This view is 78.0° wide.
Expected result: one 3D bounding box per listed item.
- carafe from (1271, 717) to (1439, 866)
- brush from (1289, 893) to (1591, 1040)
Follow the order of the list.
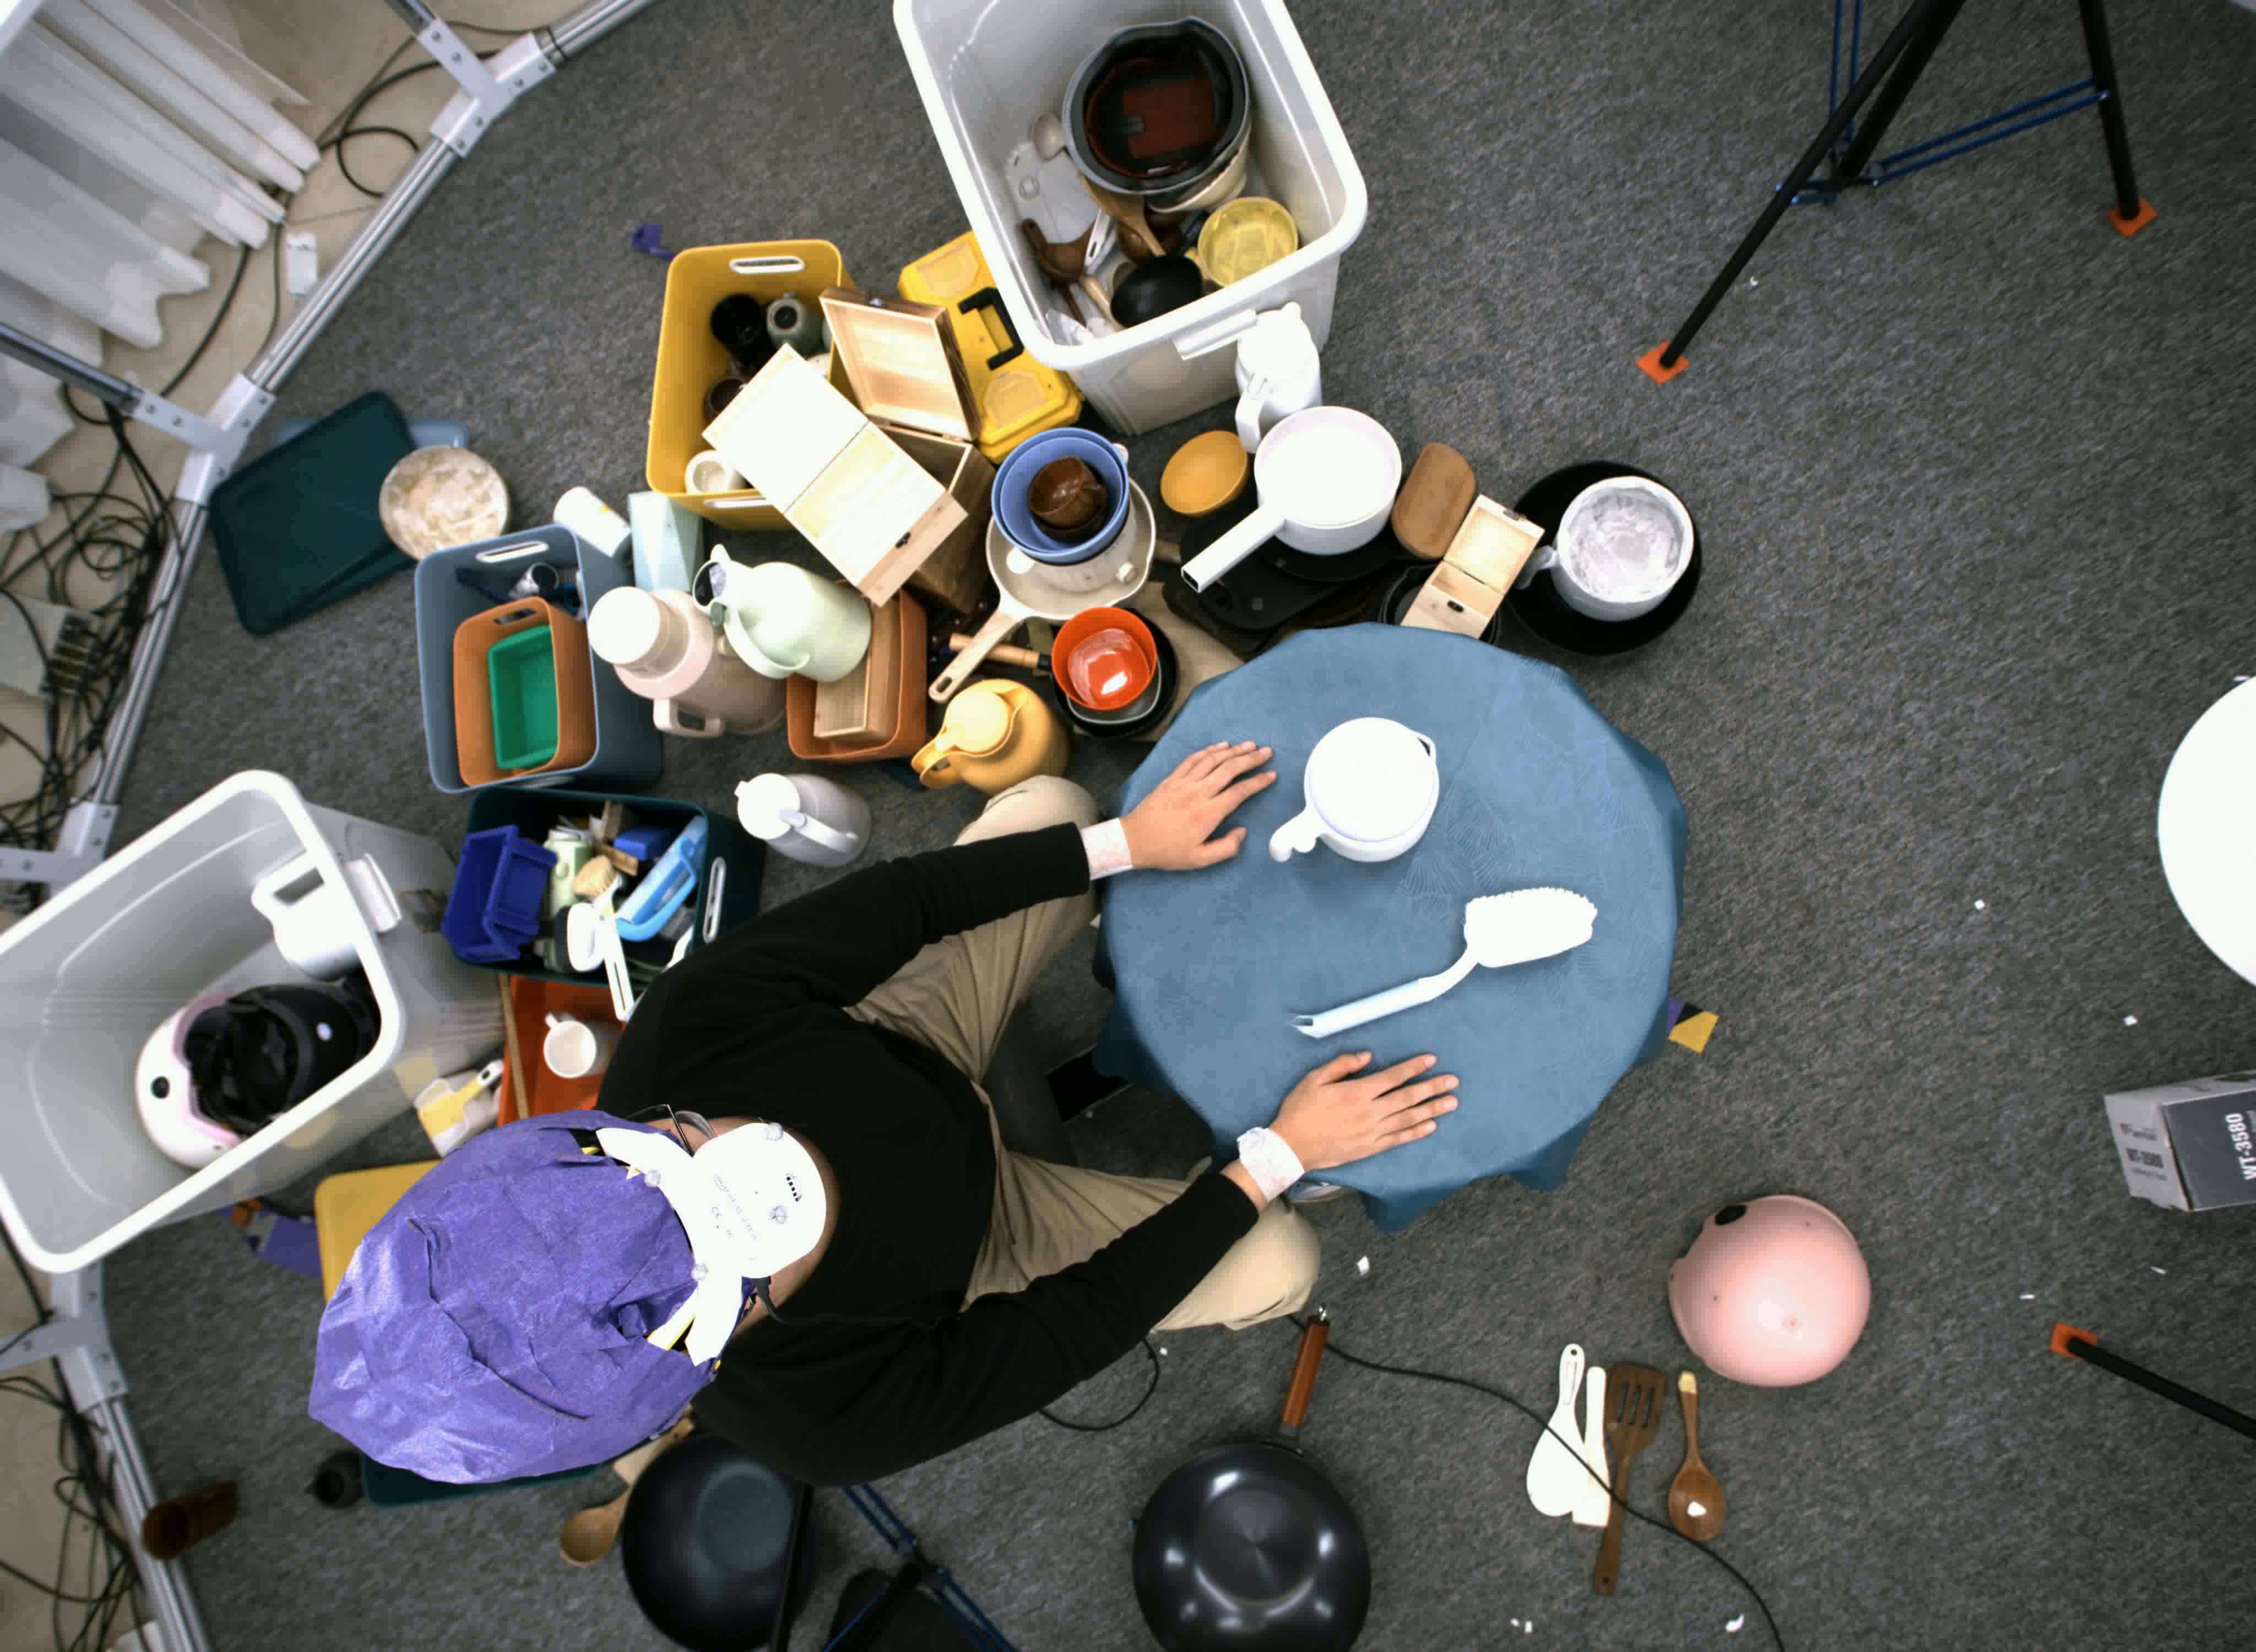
[{"bbox_3d":[0.223,-0.022,1.387,0.192,0.182,0.131,-34,80,7],"label":"carafe"},{"bbox_3d":[0.312,0.136,1.407,0.327,0.083,0.084,-20,89,8],"label":"brush"}]
